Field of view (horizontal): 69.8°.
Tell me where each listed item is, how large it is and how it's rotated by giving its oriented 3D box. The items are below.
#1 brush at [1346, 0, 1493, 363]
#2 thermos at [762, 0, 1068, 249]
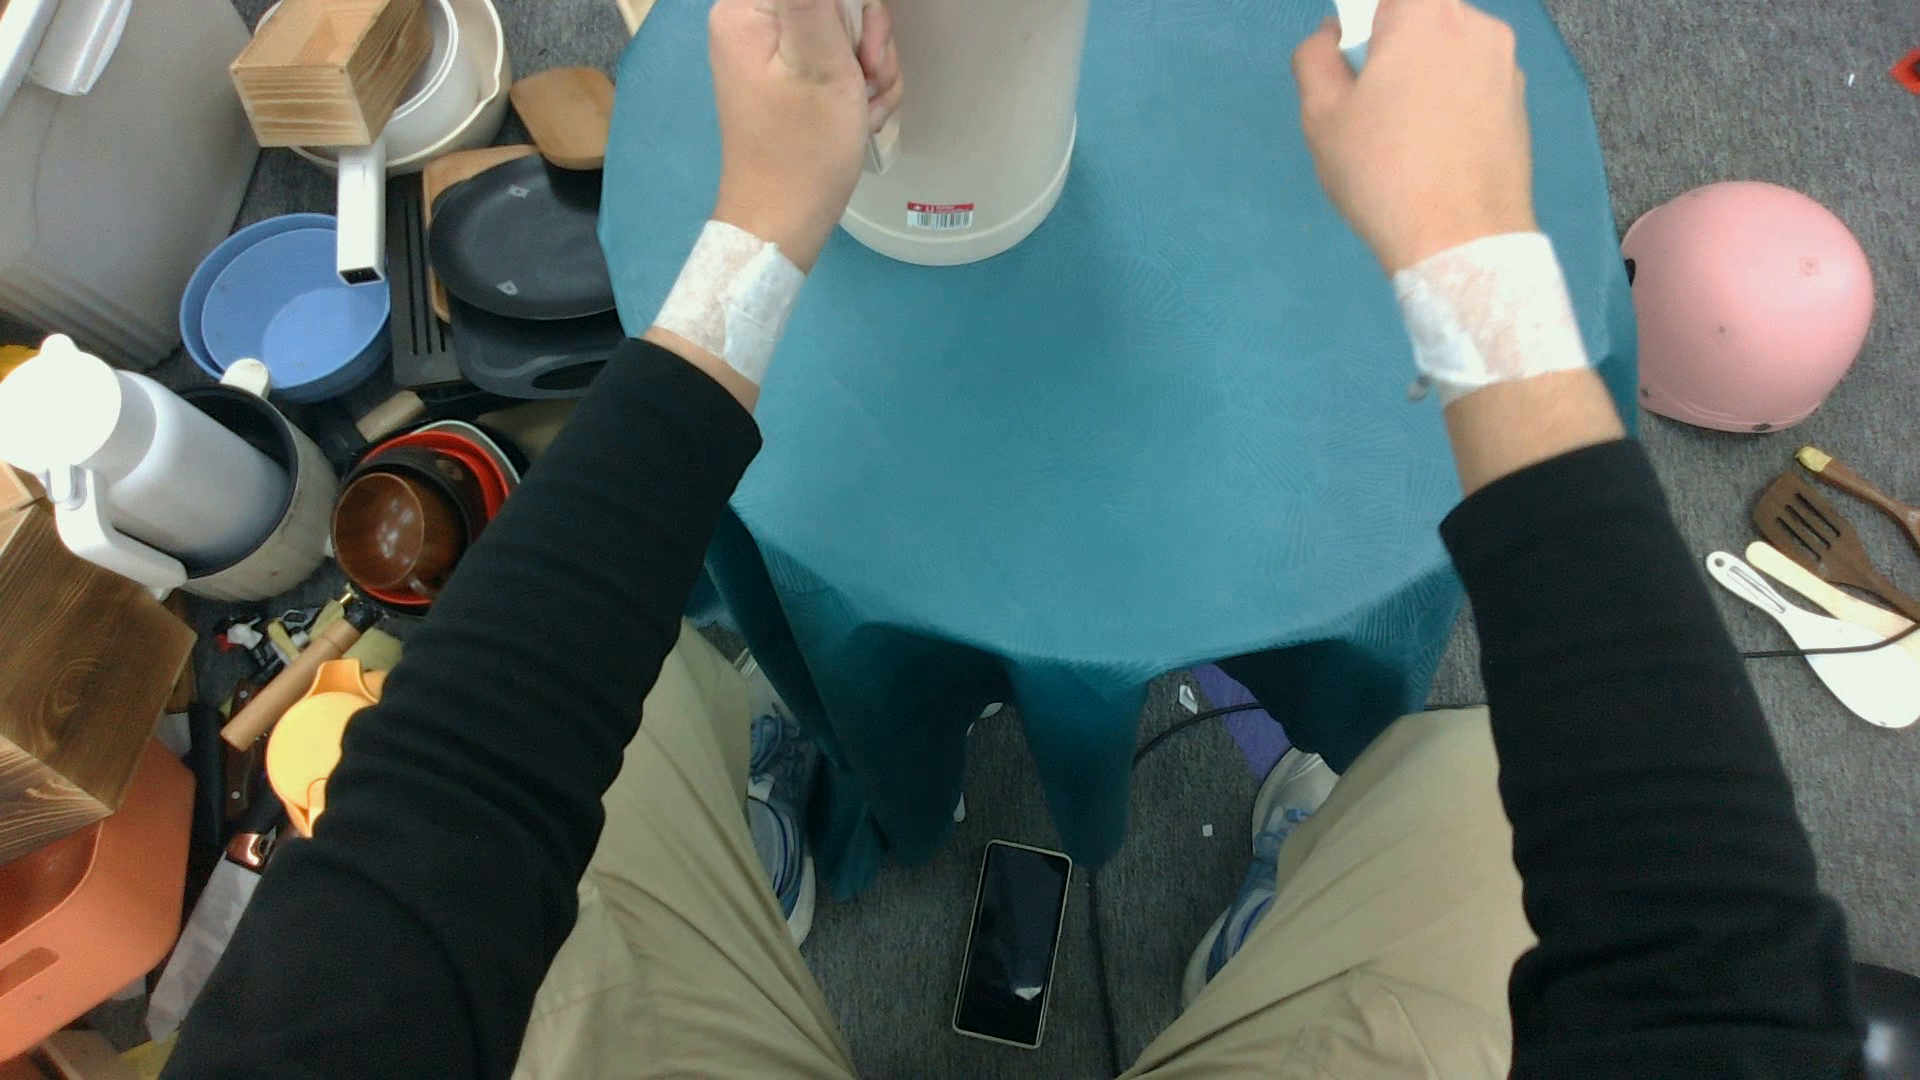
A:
[{"bbox_3d":[0.116,-0.217,0.545,0.083,0.084,0.325,-22,96,-22],"label":"brush"},{"bbox_3d":[-0.027,-0.283,0.629,0.175,0.405,0.207,21,75,3],"label":"thermos"}]
